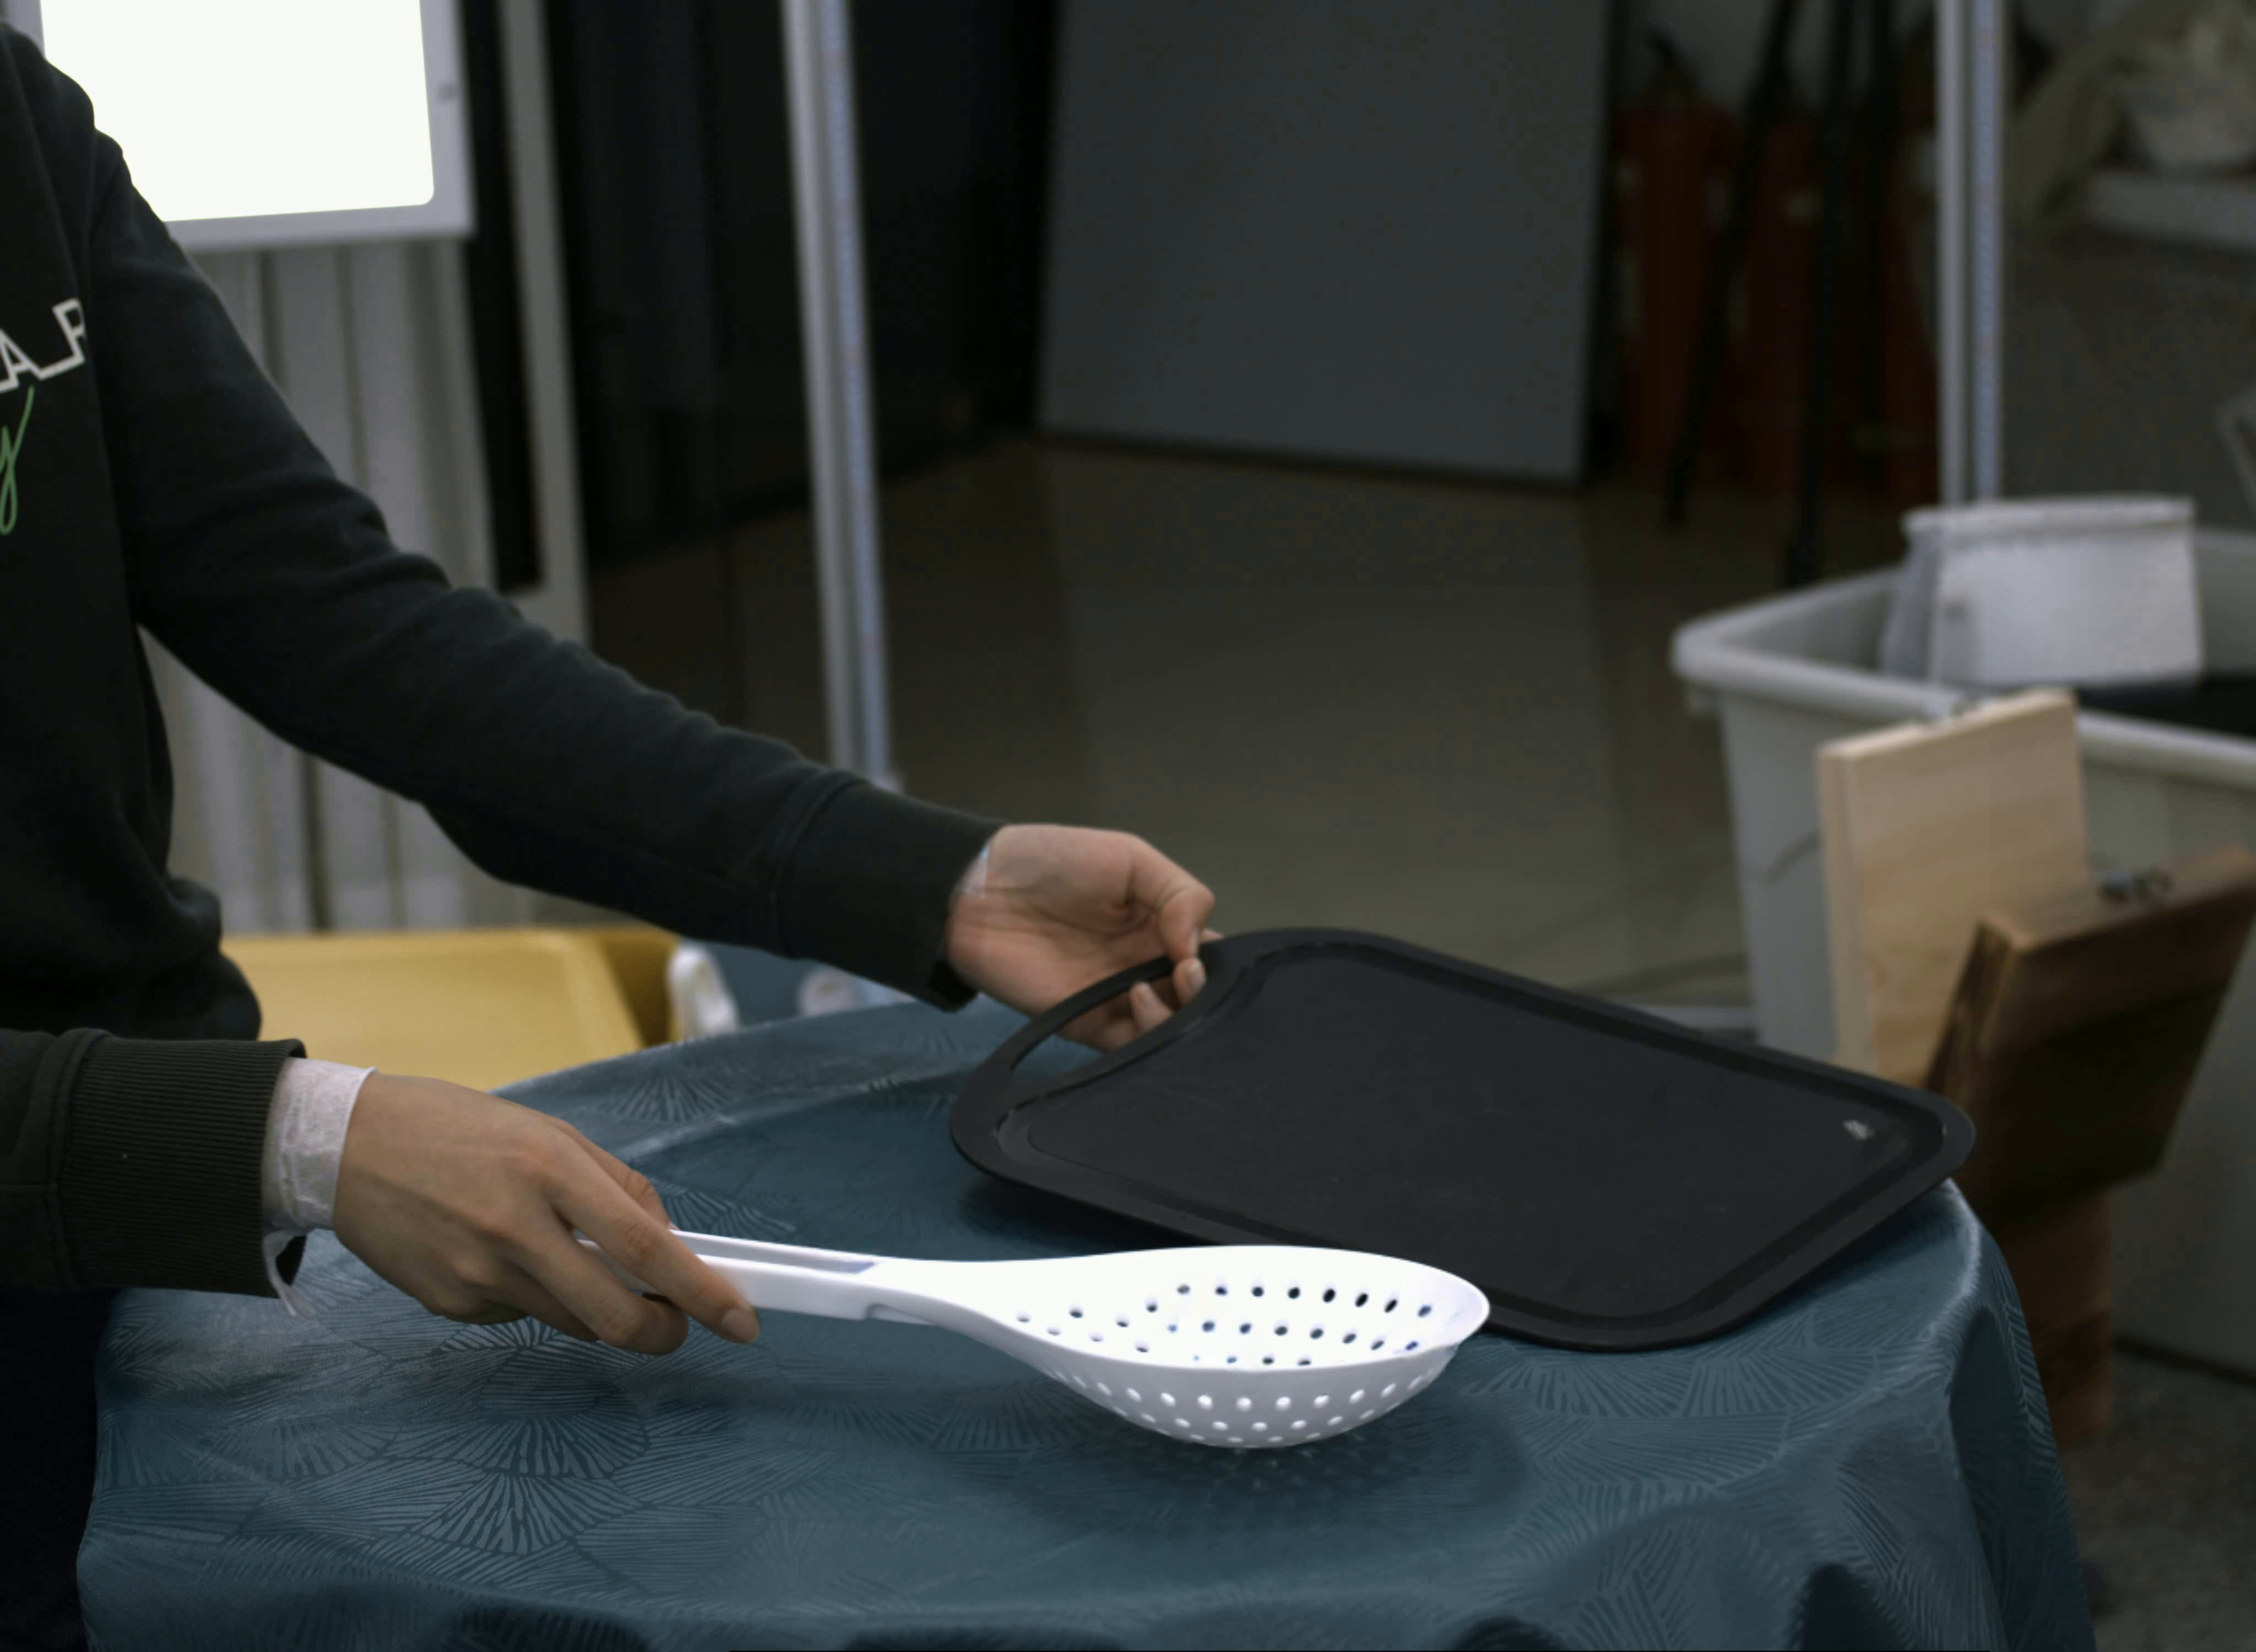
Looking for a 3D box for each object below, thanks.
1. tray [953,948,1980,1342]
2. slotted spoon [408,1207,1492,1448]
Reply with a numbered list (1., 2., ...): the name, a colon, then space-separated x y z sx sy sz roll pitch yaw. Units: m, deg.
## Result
1. tray: 0.100 0.096 1.744 0.328 0.010 0.207 14 28 39
2. slotted spoon: -0.060 0.137 1.582 0.350 0.046 0.134 9 11 26
